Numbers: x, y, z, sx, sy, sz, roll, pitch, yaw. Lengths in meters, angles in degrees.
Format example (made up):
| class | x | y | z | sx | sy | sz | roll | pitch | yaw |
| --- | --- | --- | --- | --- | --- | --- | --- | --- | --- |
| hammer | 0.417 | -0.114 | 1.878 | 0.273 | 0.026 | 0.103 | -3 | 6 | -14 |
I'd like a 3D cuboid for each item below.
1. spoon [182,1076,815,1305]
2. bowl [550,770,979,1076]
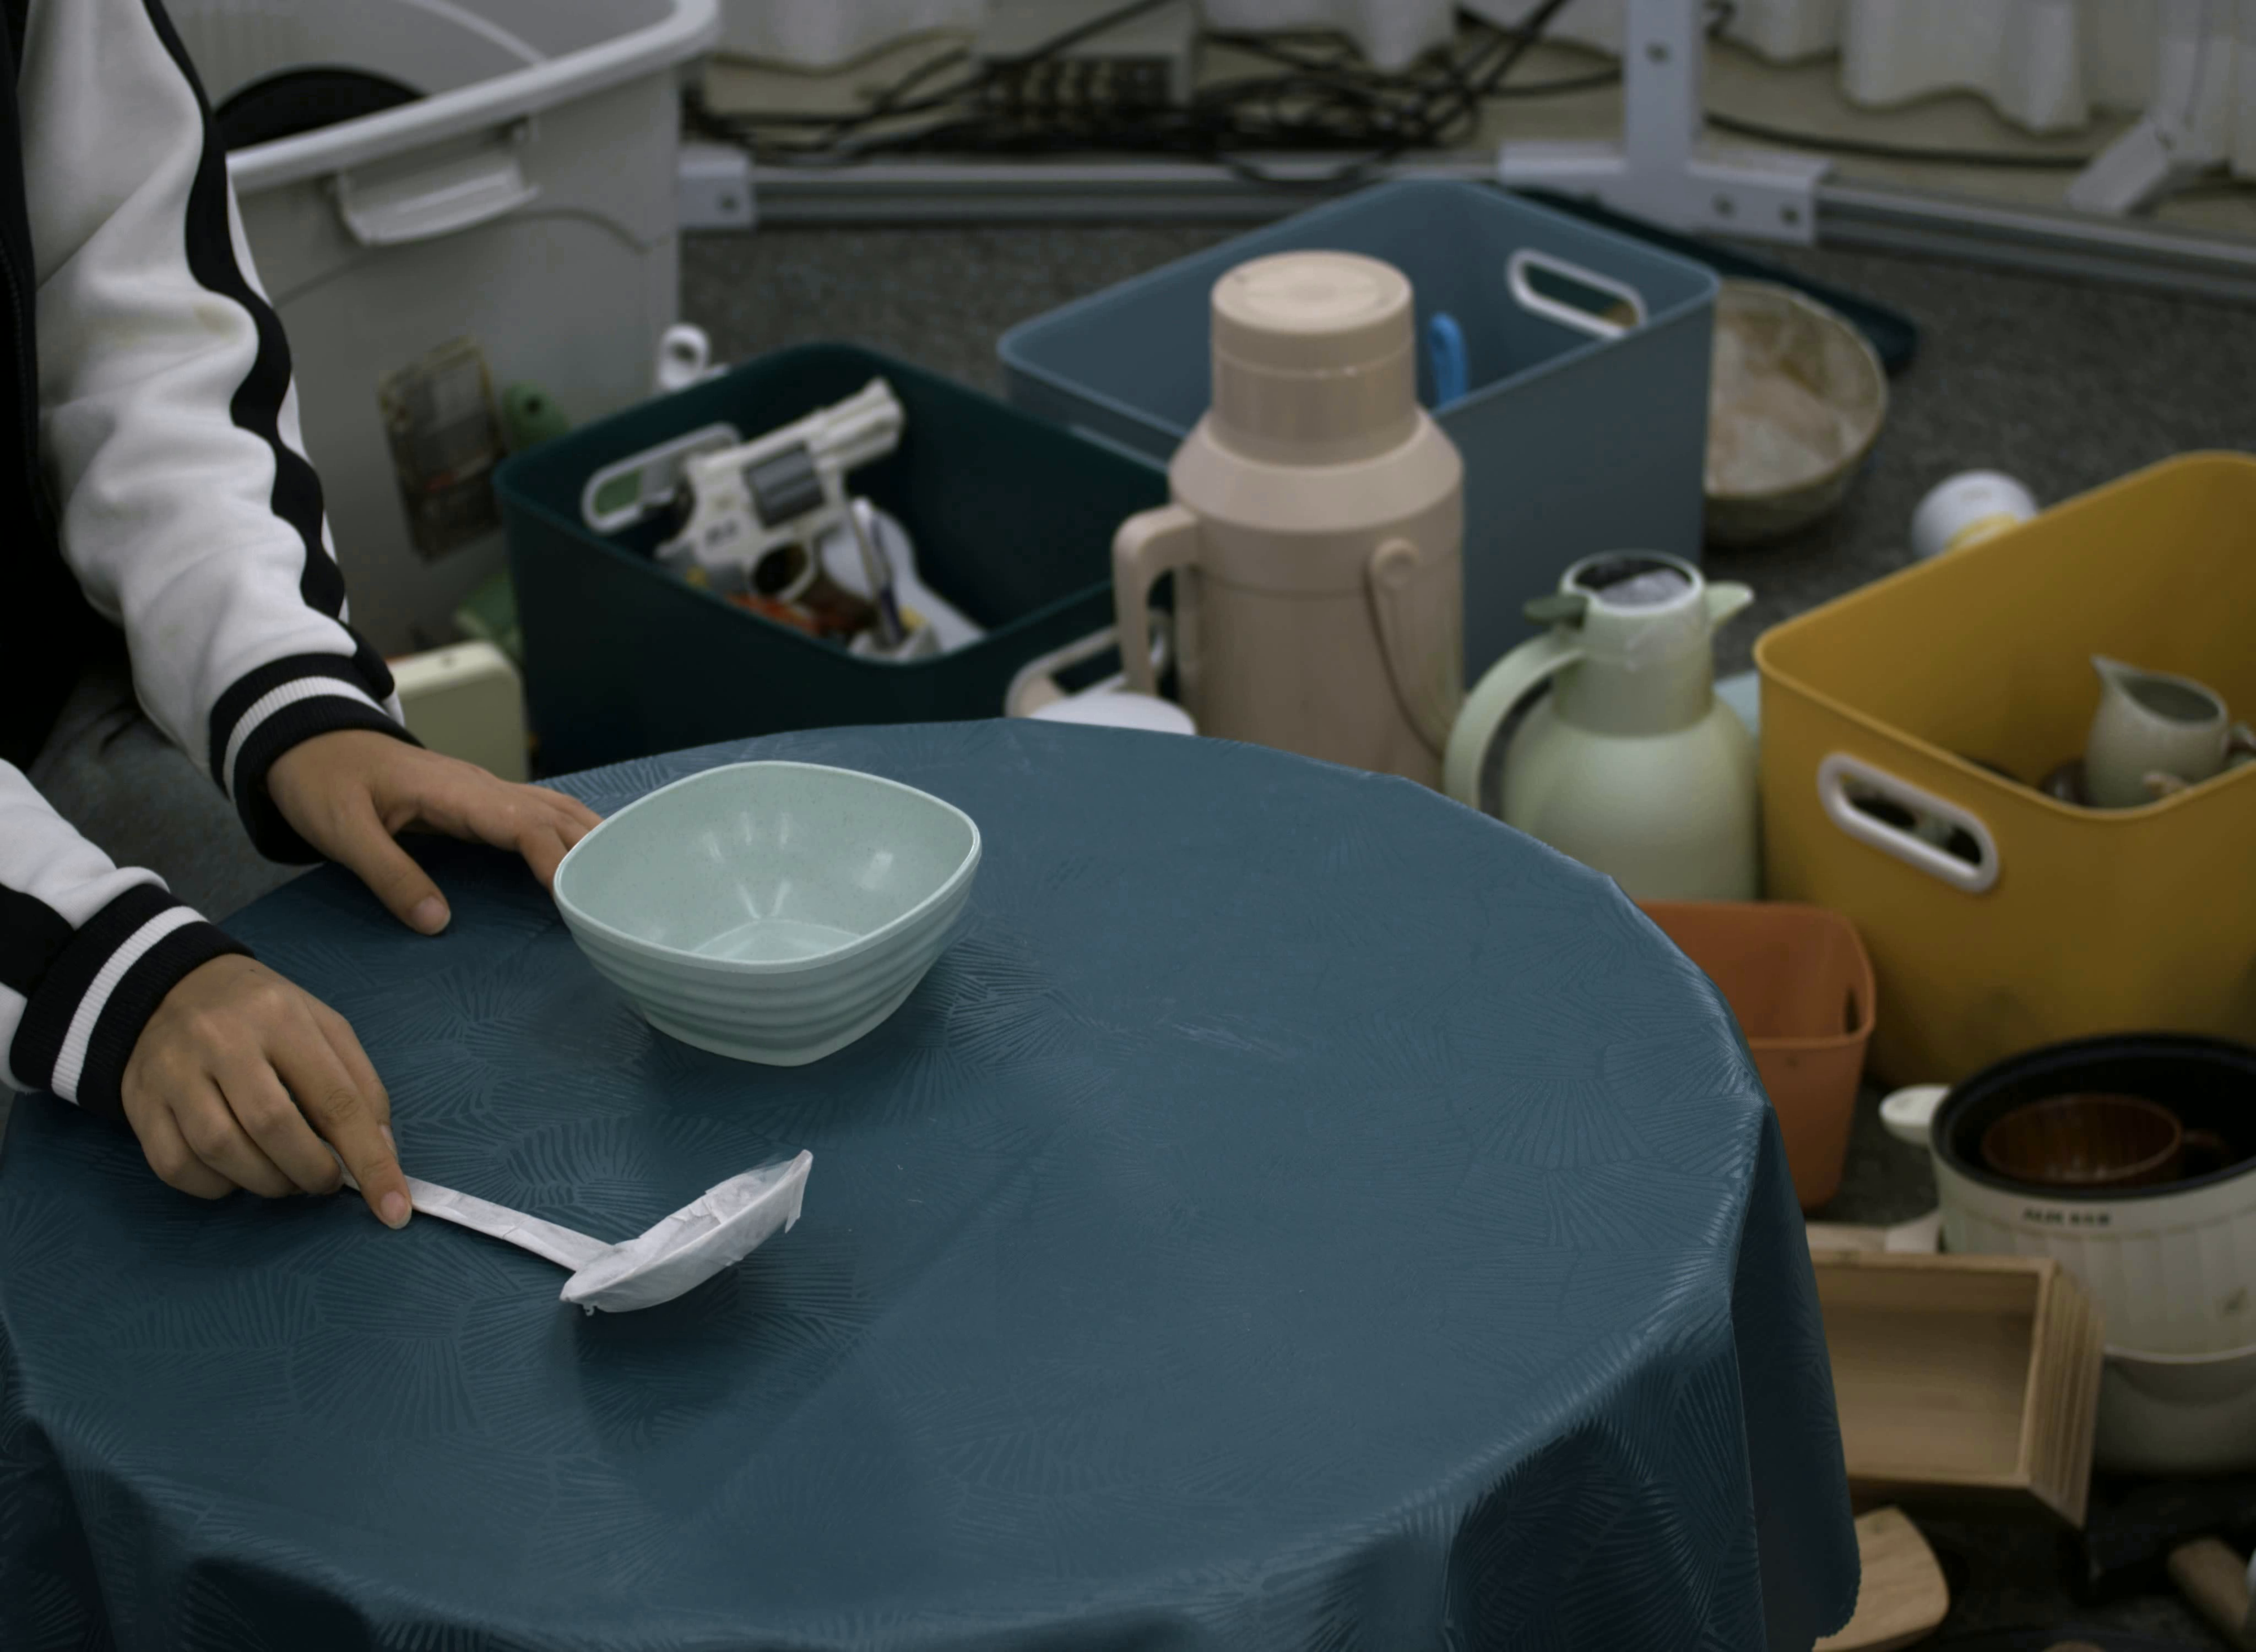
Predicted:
| class | x | y | z | sx | sy | sz | roll | pitch | yaw |
| --- | --- | --- | --- | --- | --- | --- | --- | --- | --- |
| spoon | -0.216 | 0.102 | 1.860 | 0.276 | 0.059 | 0.102 | 19 | 29 | 36 |
| bowl | -0.126 | 0.040 | 1.978 | 0.151 | 0.058 | 0.154 | -2 | 27 | 1 |
